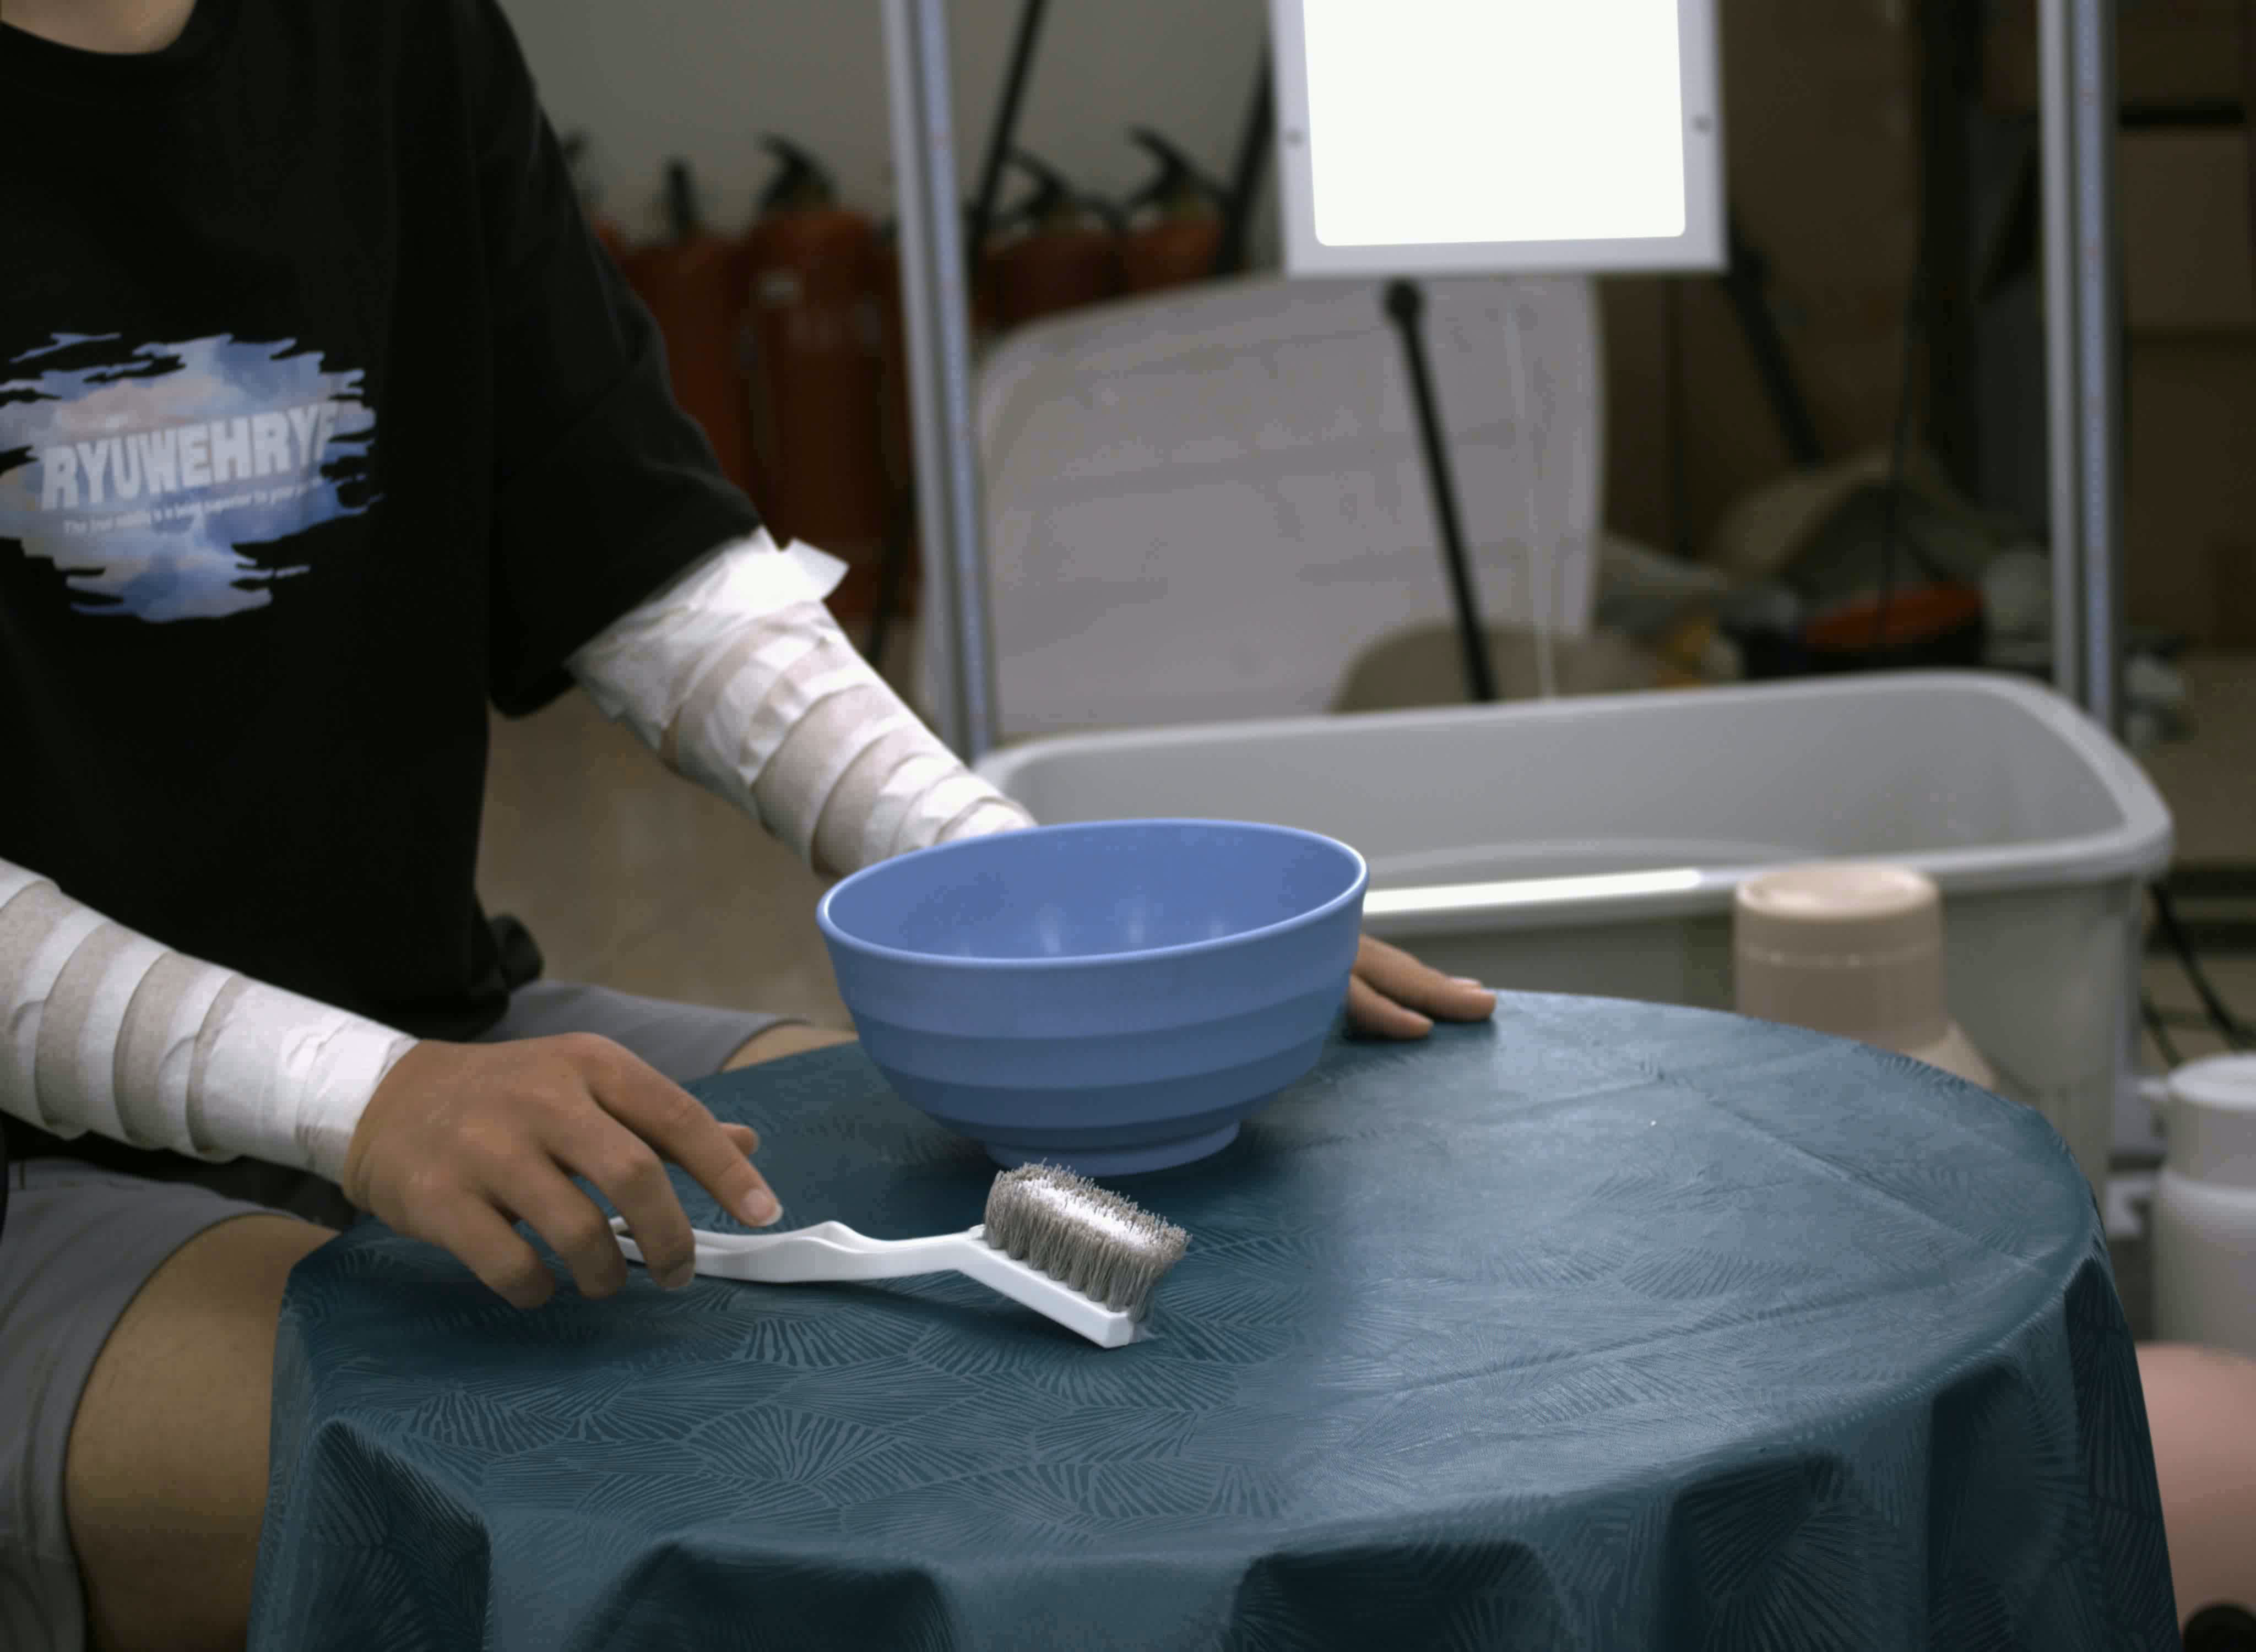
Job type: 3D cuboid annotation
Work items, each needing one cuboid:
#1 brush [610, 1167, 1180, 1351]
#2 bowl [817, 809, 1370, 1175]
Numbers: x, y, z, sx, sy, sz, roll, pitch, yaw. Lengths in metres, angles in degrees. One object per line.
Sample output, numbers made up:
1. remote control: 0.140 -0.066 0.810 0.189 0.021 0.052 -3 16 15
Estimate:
1. brush: -0.083 0.129 1.813 0.249 0.050 0.033 7 21 41
2. bowl: -0.009 0.064 1.951 0.196 0.096 0.196 -5 15 0
